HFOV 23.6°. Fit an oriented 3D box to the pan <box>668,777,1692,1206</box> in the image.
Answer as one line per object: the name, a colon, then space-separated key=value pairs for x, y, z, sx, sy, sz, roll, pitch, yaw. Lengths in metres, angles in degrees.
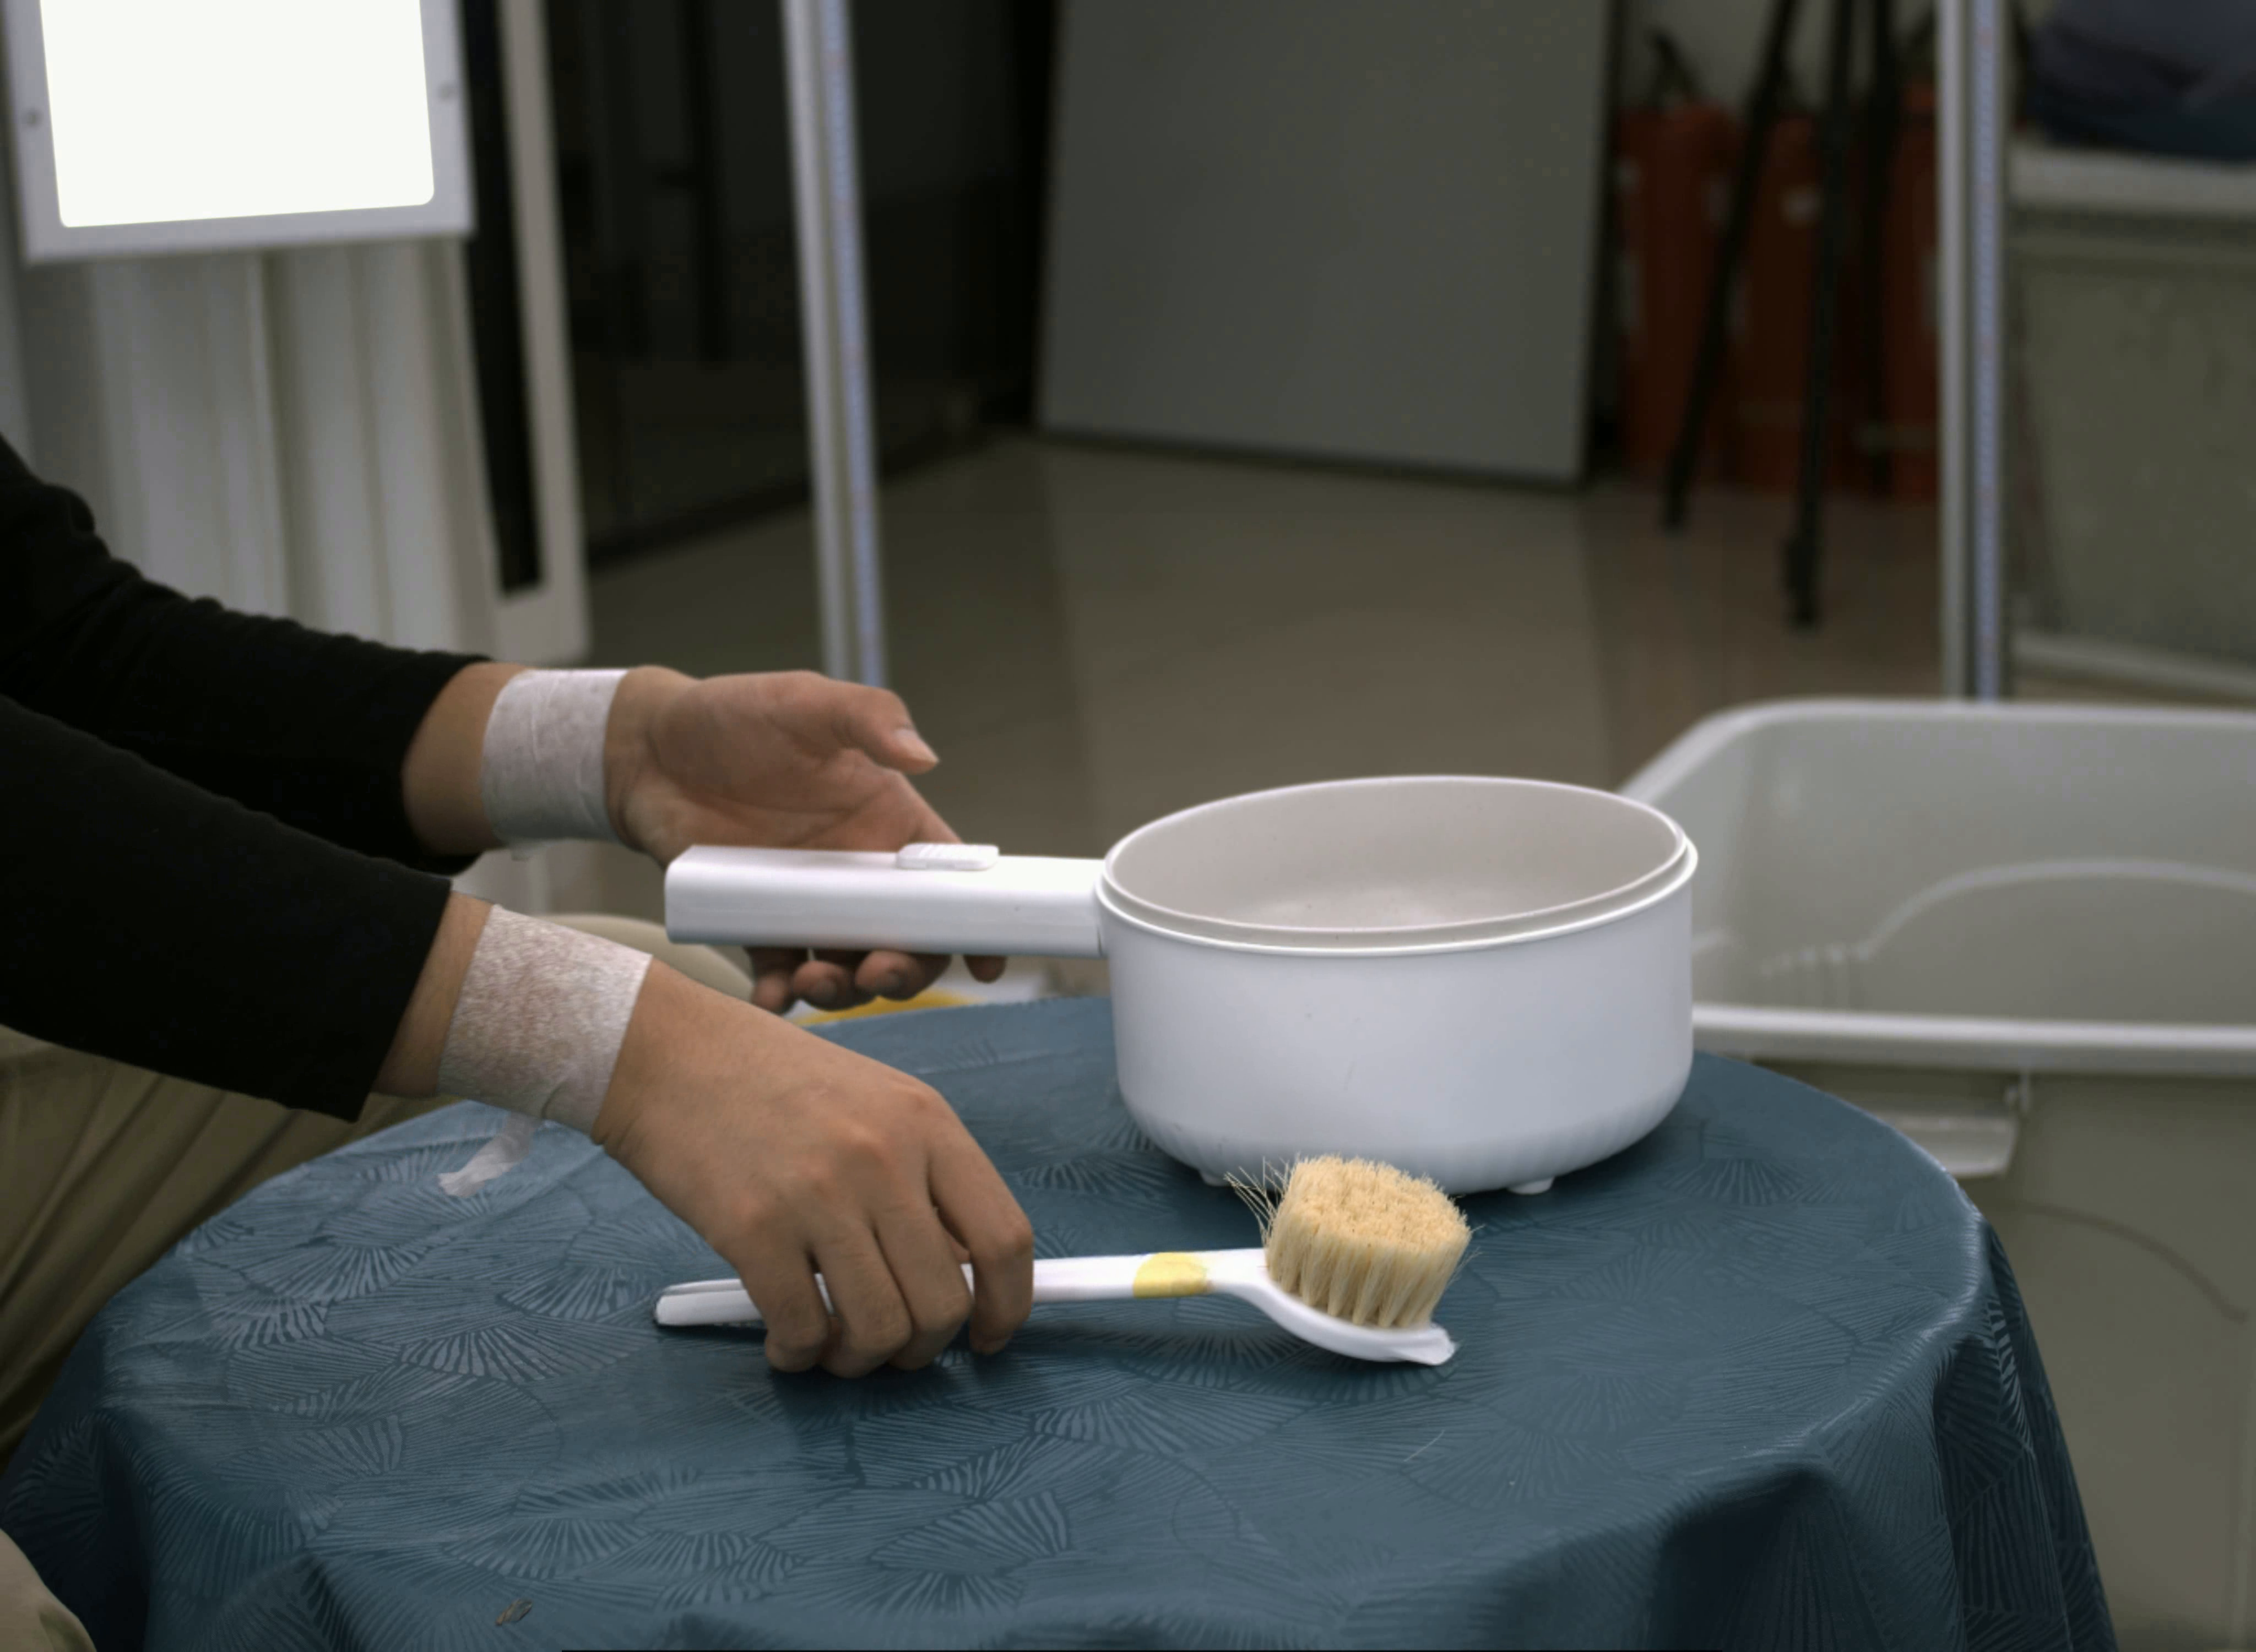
pan: x=0.017 y=0.059 z=1.817 sx=0.353 sy=0.103 sz=0.200 roll=-1 pitch=15 yaw=17

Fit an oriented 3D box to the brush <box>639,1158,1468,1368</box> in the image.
brush: x=-0.027 y=0.130 z=1.627 sx=0.266 sy=0.057 sz=0.068 roll=0 pitch=9 yaw=20
